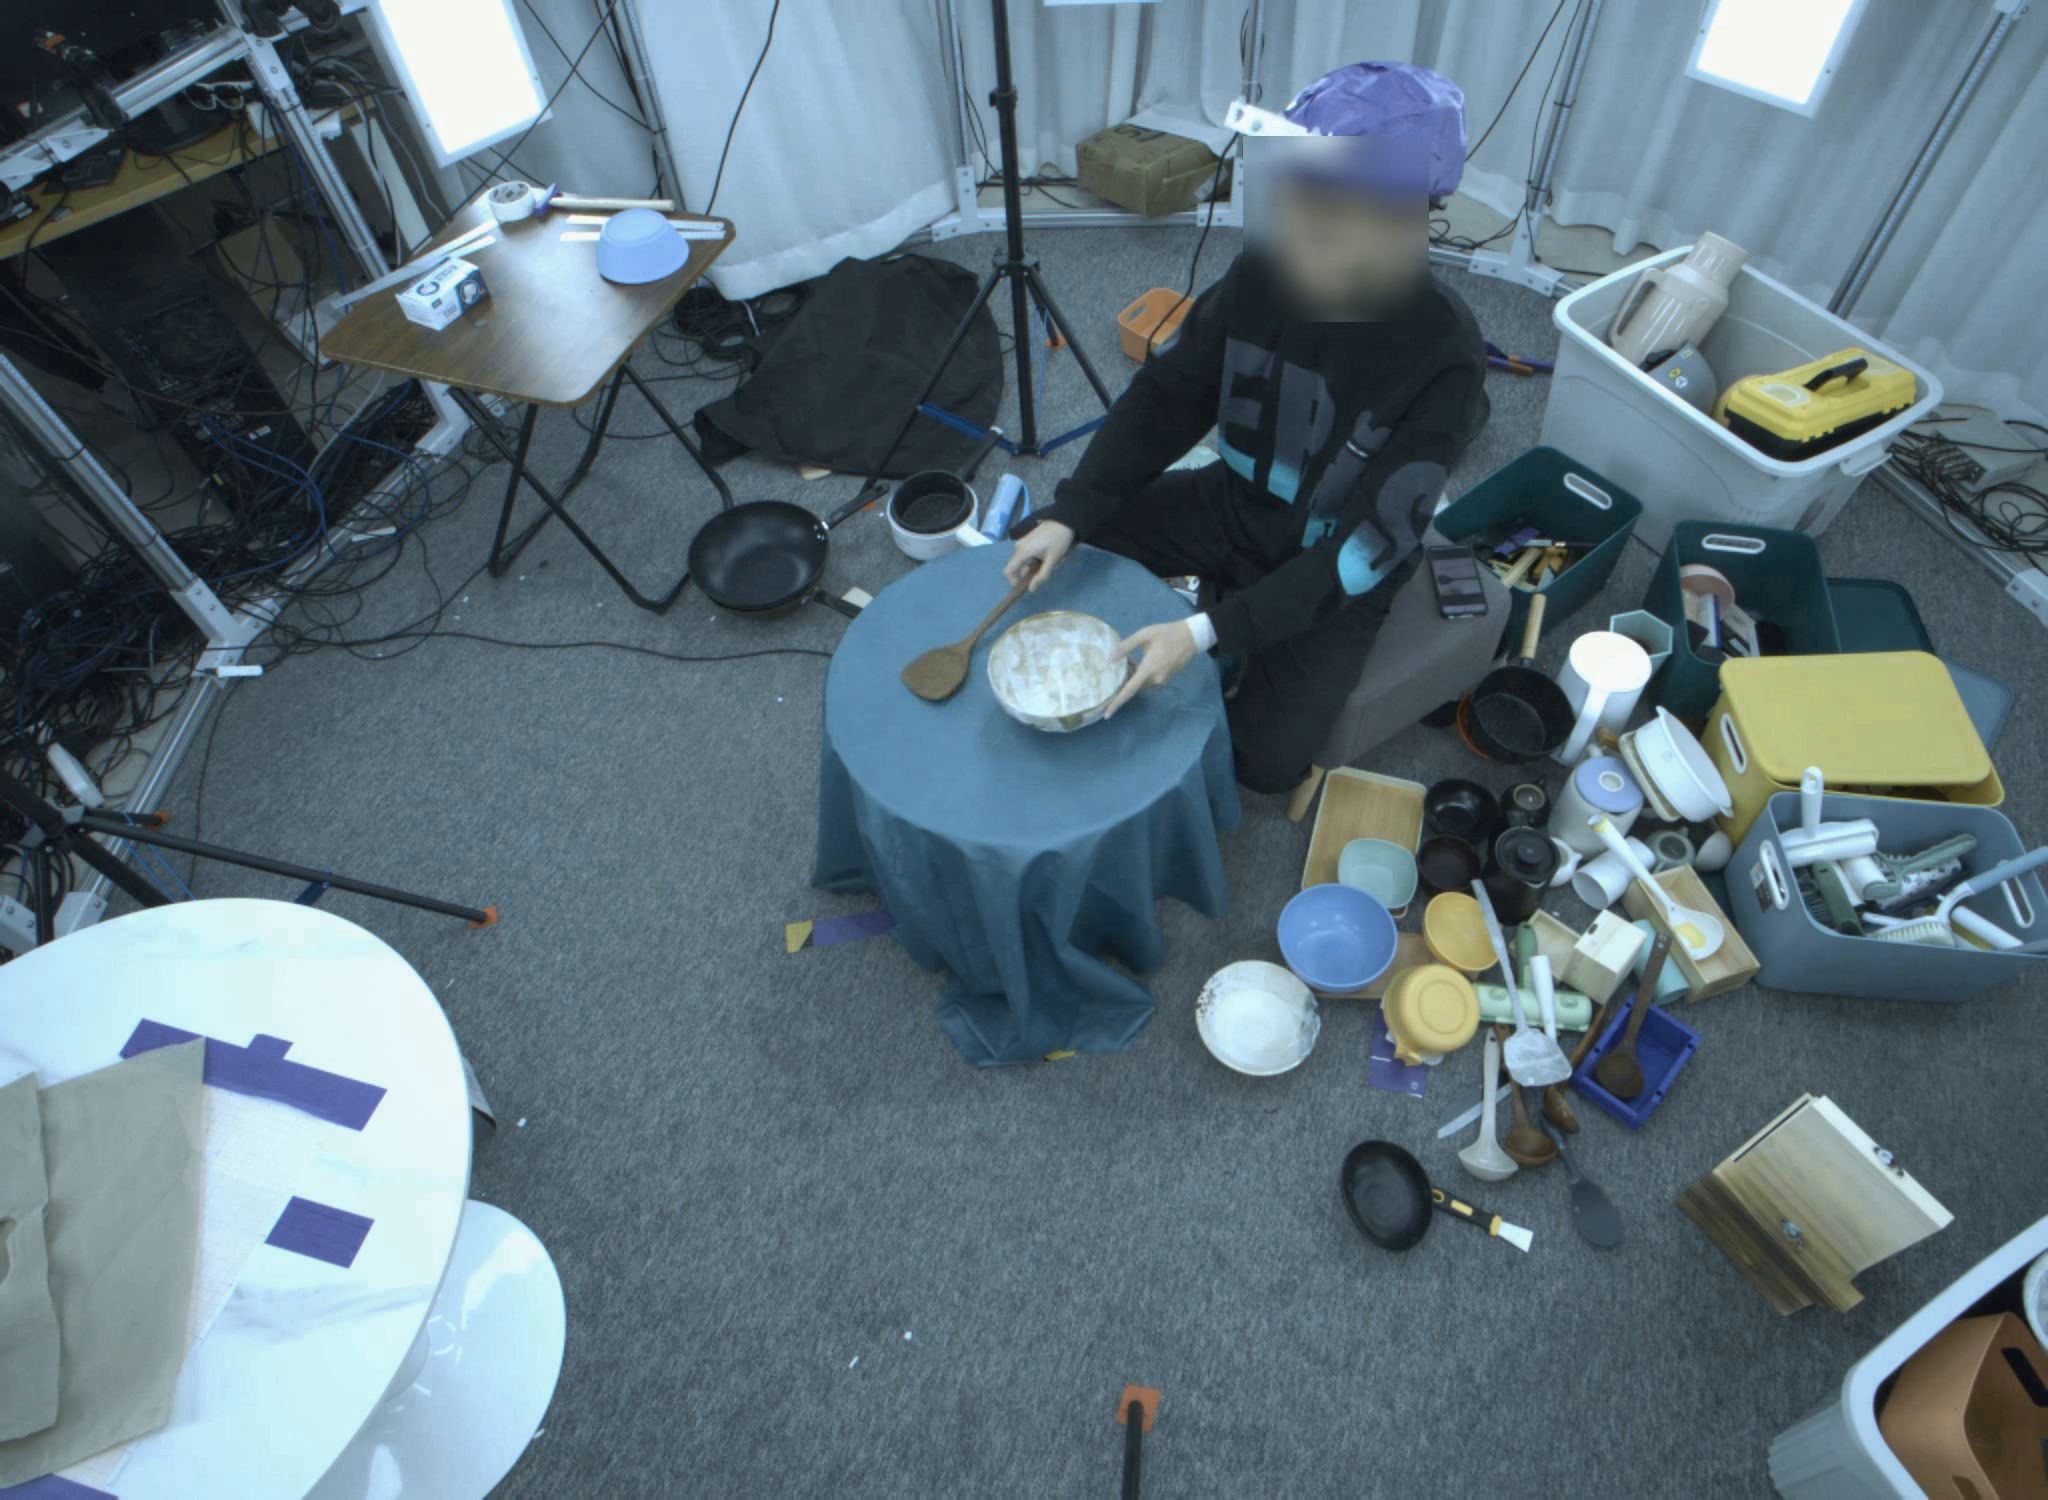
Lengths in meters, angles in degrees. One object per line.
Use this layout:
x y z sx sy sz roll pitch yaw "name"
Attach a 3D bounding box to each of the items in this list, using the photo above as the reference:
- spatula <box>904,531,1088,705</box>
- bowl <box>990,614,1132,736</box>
-0.033 -0.215 1.909 0.094 0.016 0.387 35 73 28 "spatula"
0.059 -0.094 1.804 0.214 0.096 0.212 -1 53 3 "bowl"
